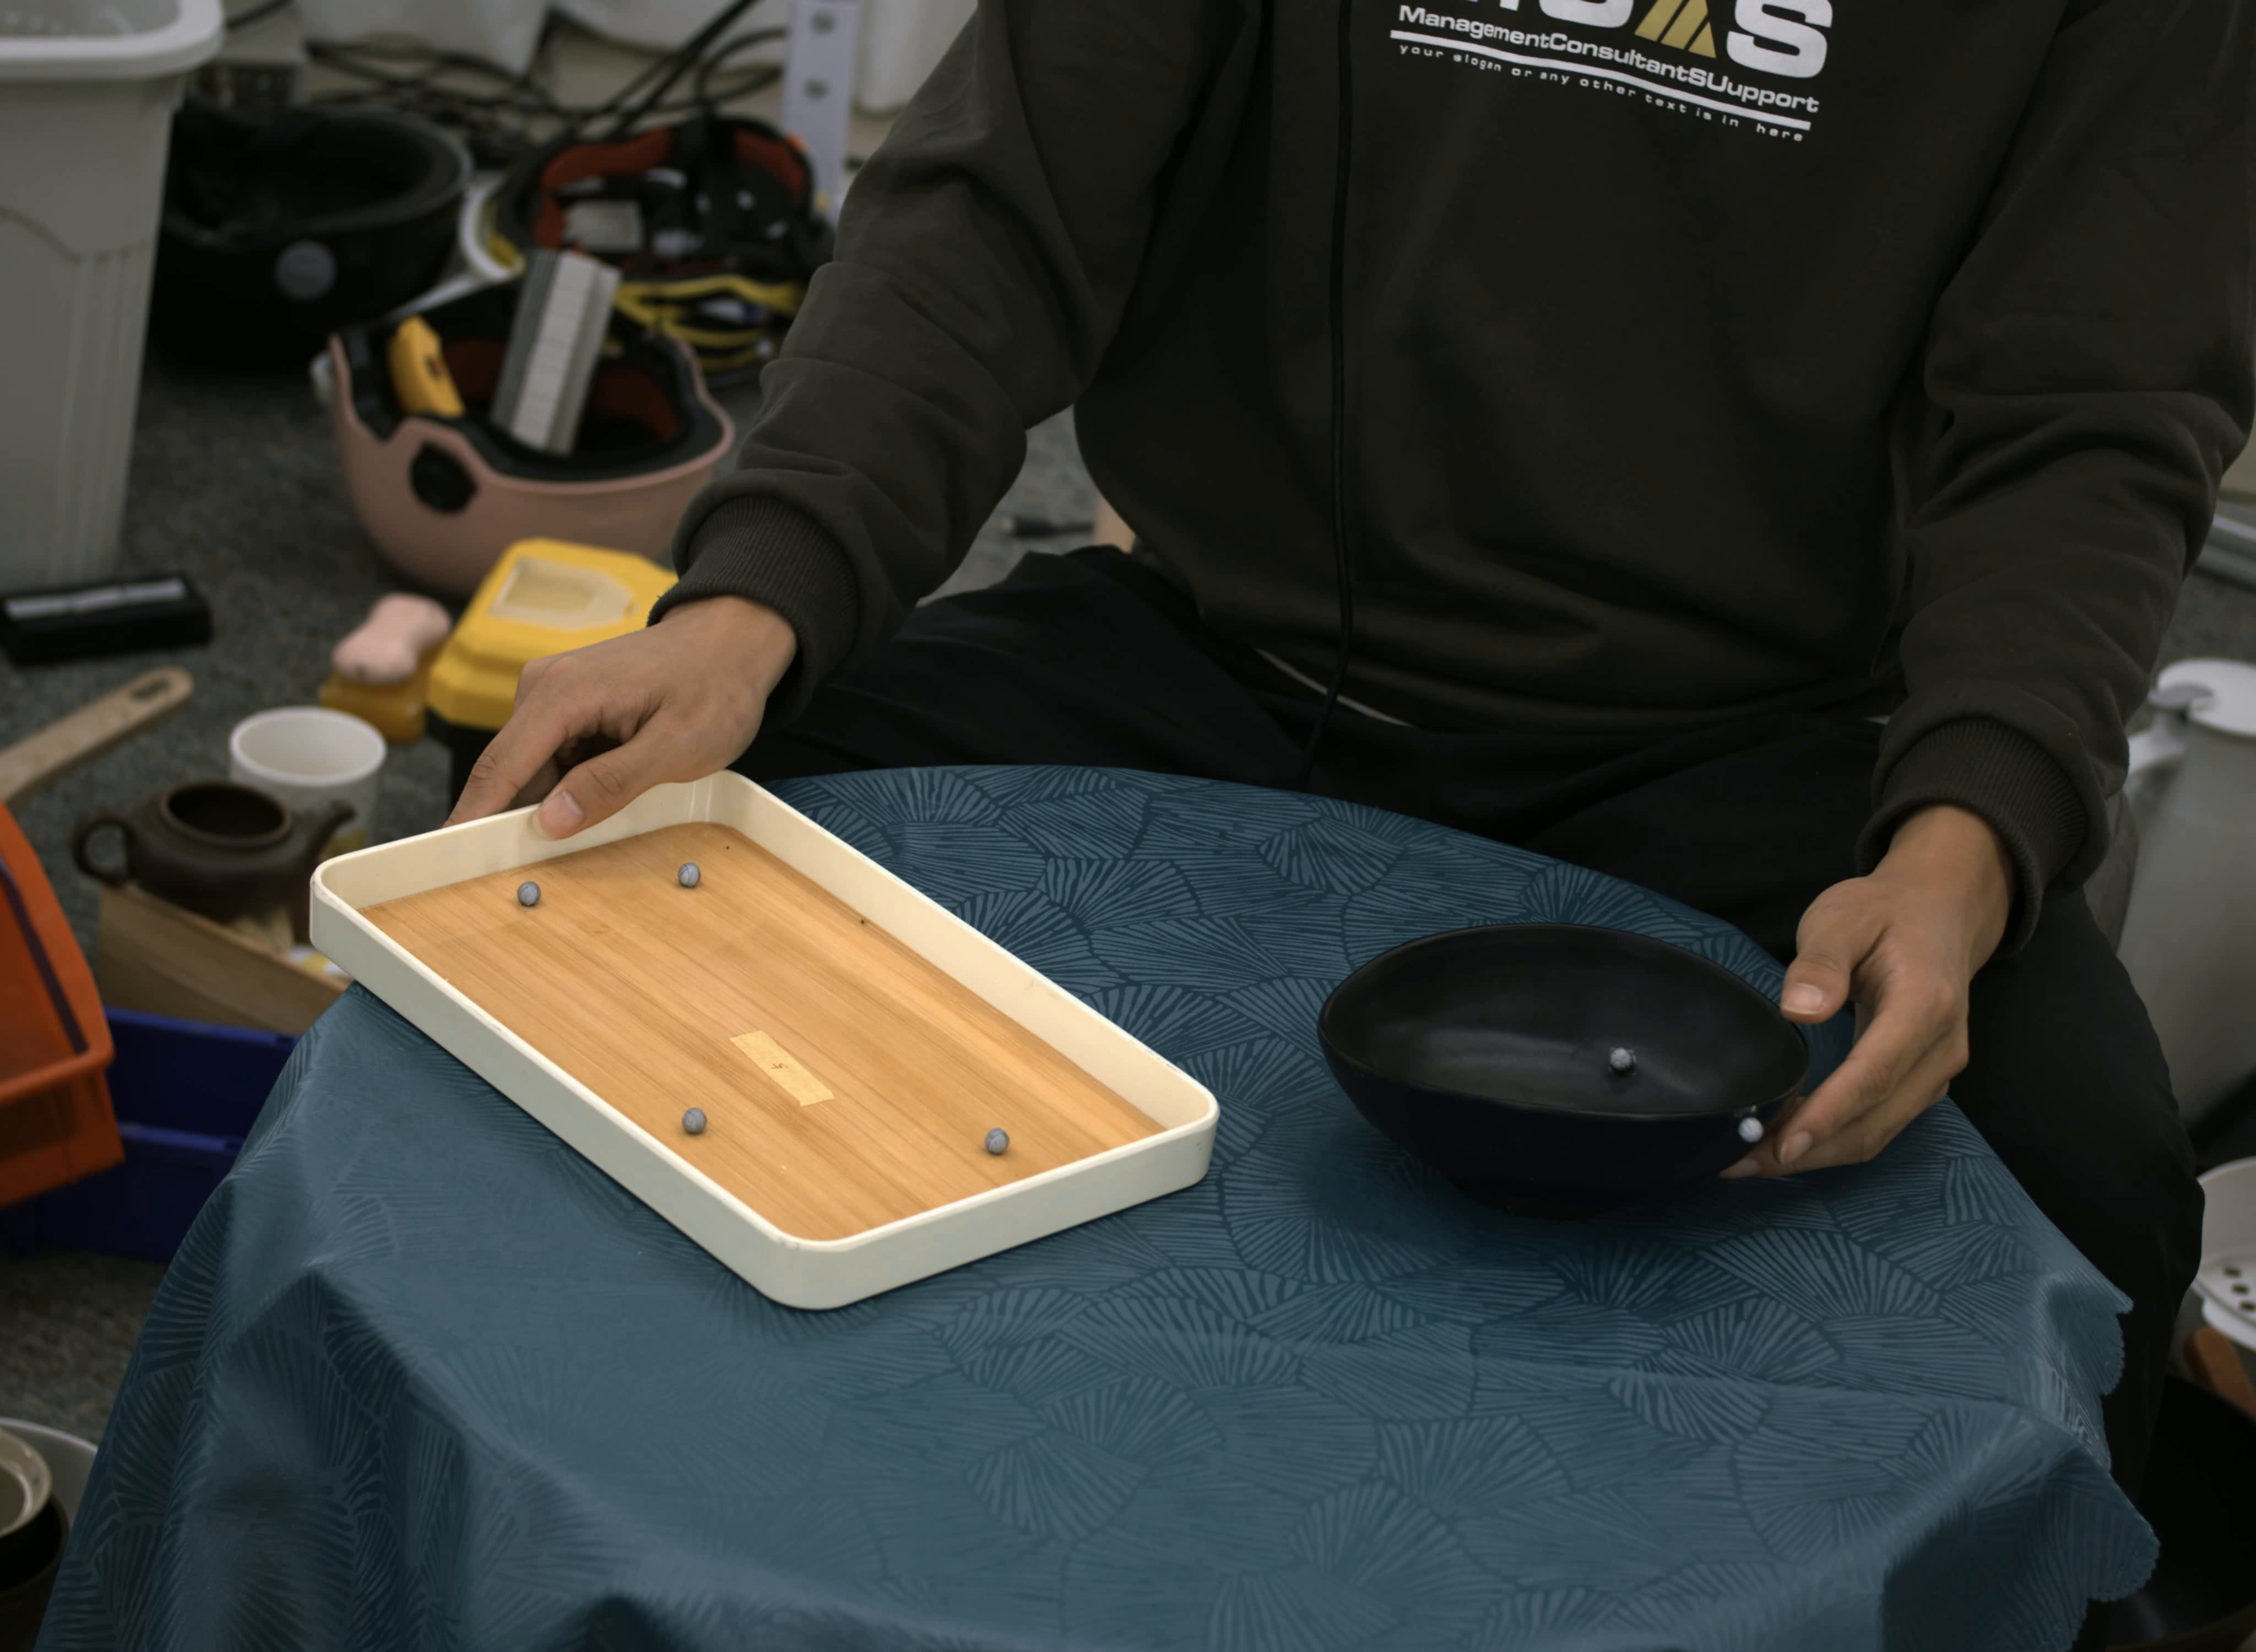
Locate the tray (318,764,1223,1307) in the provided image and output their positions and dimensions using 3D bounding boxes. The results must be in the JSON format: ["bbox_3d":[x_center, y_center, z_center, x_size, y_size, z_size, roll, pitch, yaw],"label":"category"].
[{"bbox_3d":[-0.129,0.067,1.857,0.190,0.027,0.303,-16,35,-38],"label":"tray"}]

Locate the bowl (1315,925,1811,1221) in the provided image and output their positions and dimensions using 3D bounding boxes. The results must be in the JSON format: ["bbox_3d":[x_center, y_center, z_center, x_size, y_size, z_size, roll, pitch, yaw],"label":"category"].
[{"bbox_3d":[0.148,0.093,1.834,0.170,0.066,0.138,4,25,-3],"label":"bowl"}]
